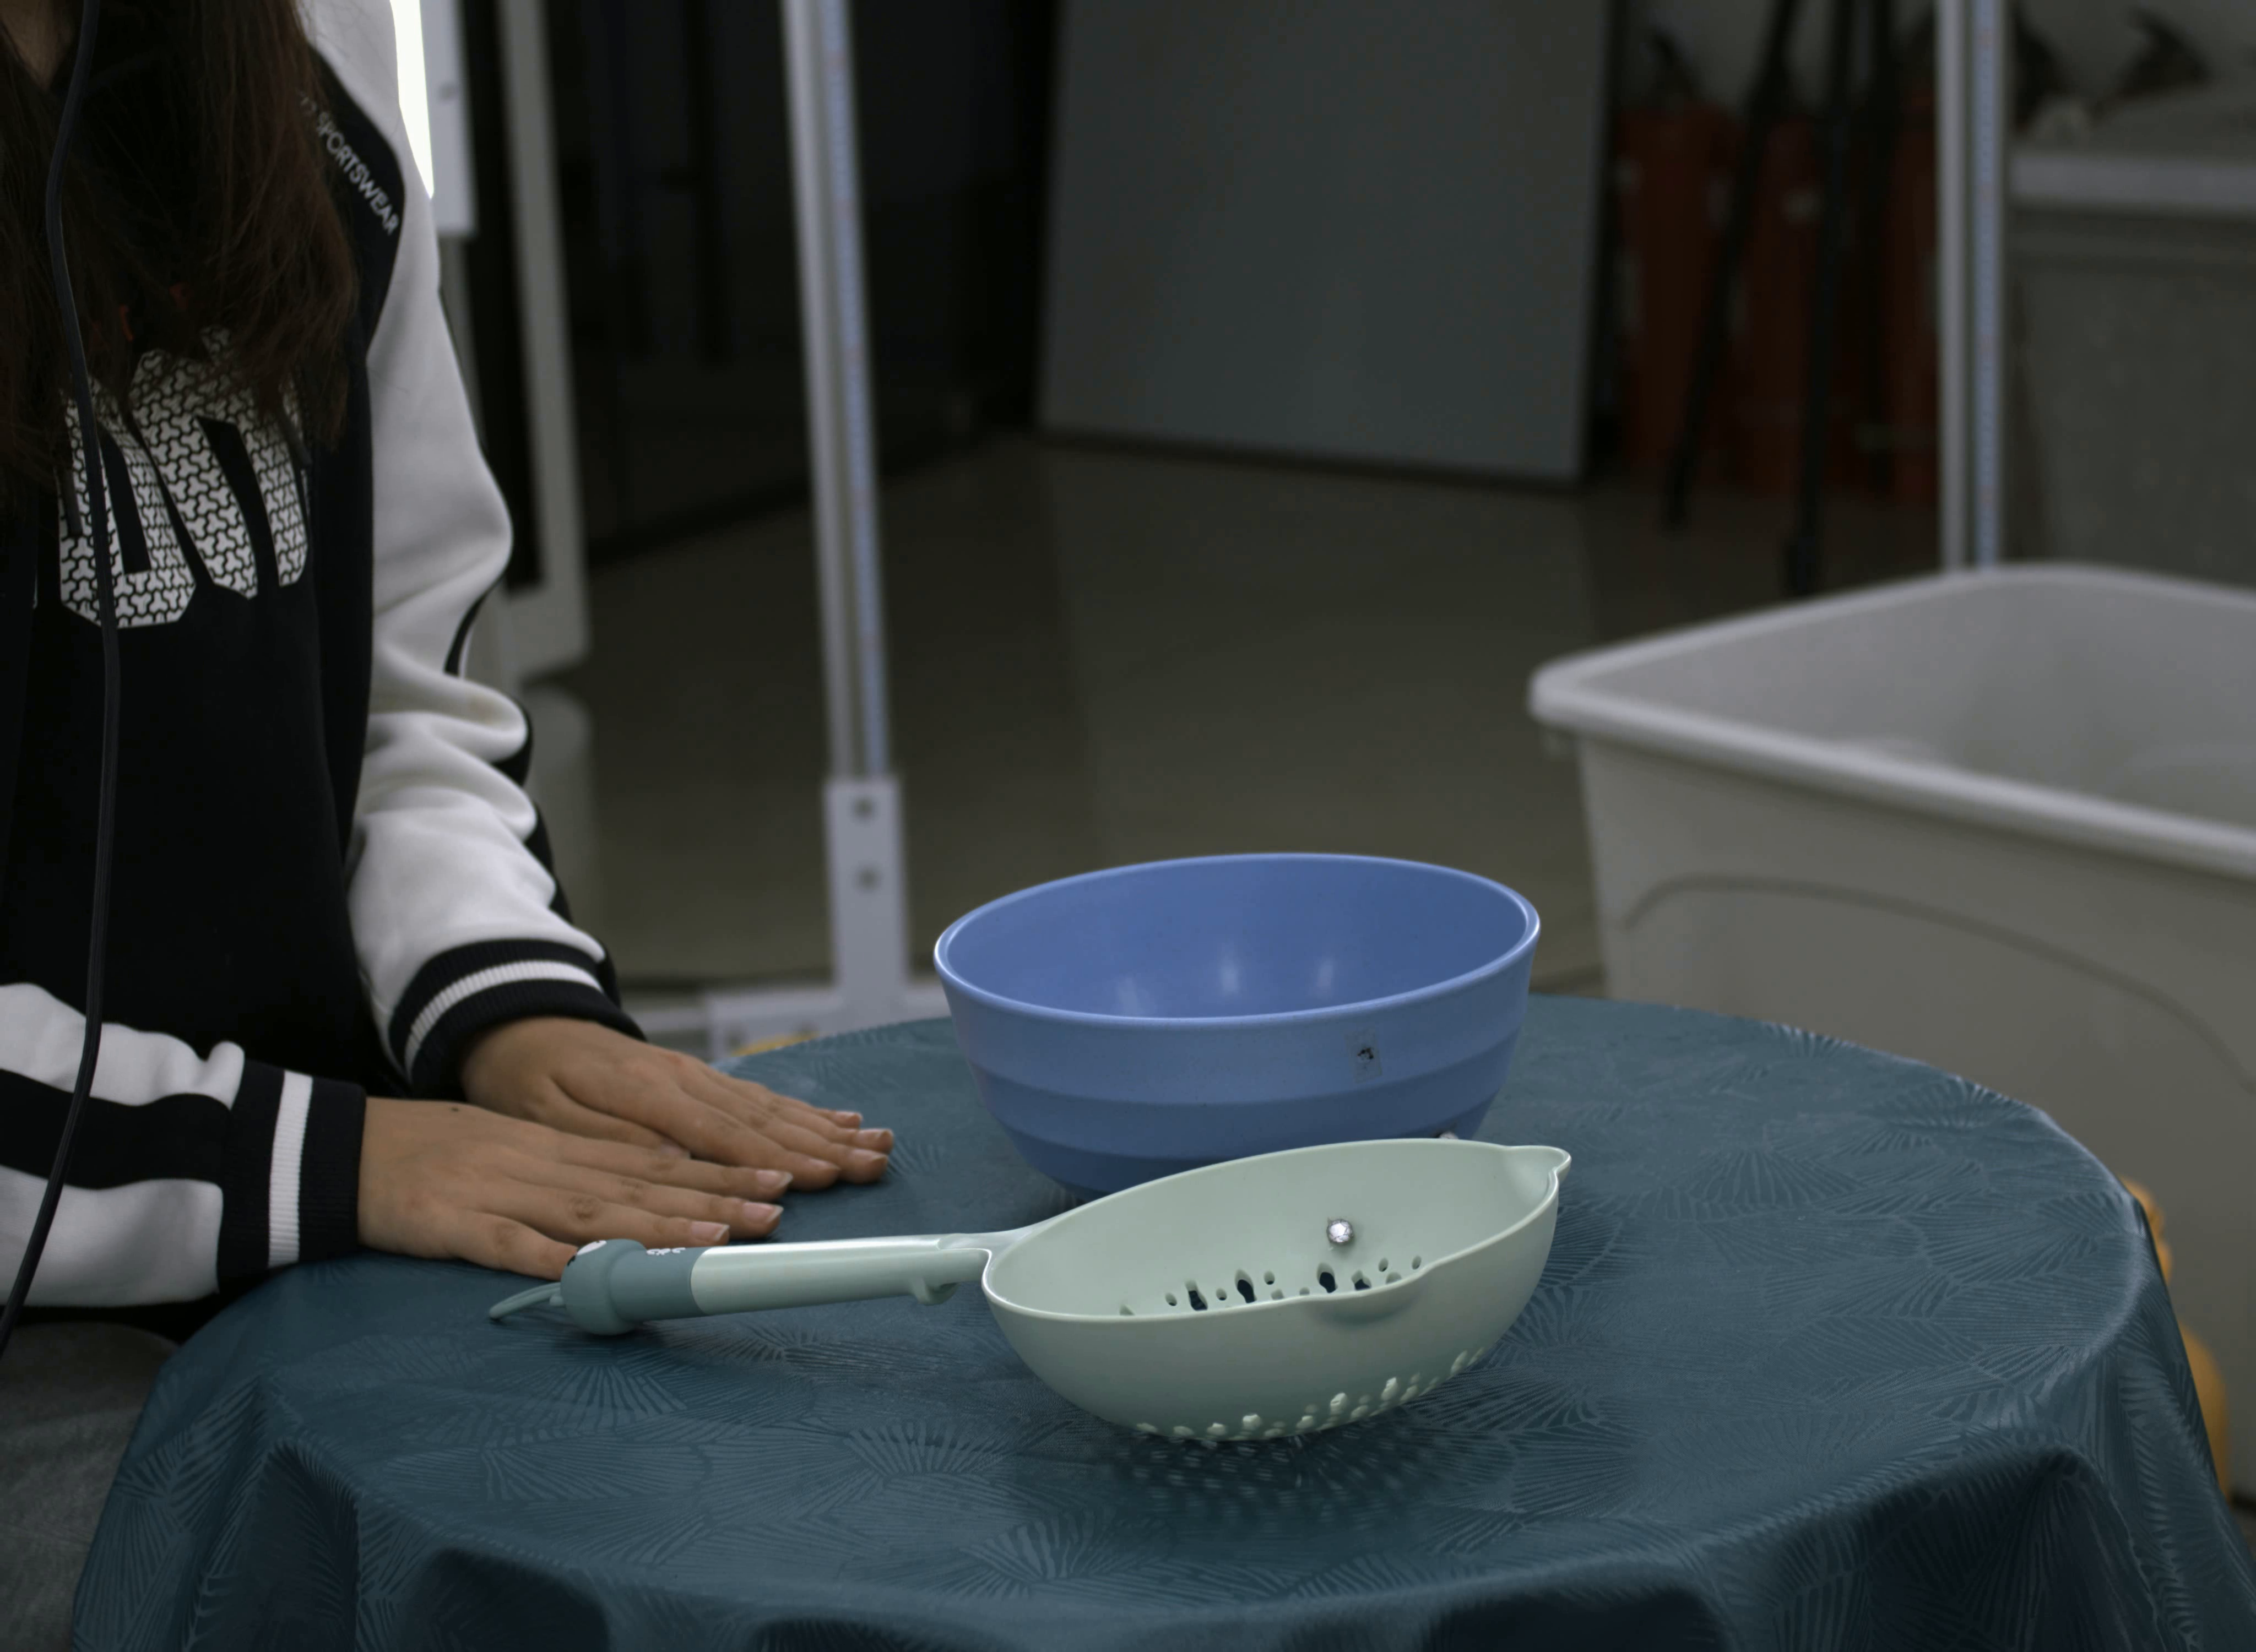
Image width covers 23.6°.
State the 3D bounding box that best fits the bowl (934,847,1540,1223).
[{"bbox_3d":[0.038,0.078,1.733,0.194,0.096,0.197,-4,14,0],"label":"bowl"}]

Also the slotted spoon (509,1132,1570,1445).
[{"bbox_3d":[-0.040,0.136,1.597,0.360,0.076,0.167,2,14,30],"label":"slotted spoon"}]
